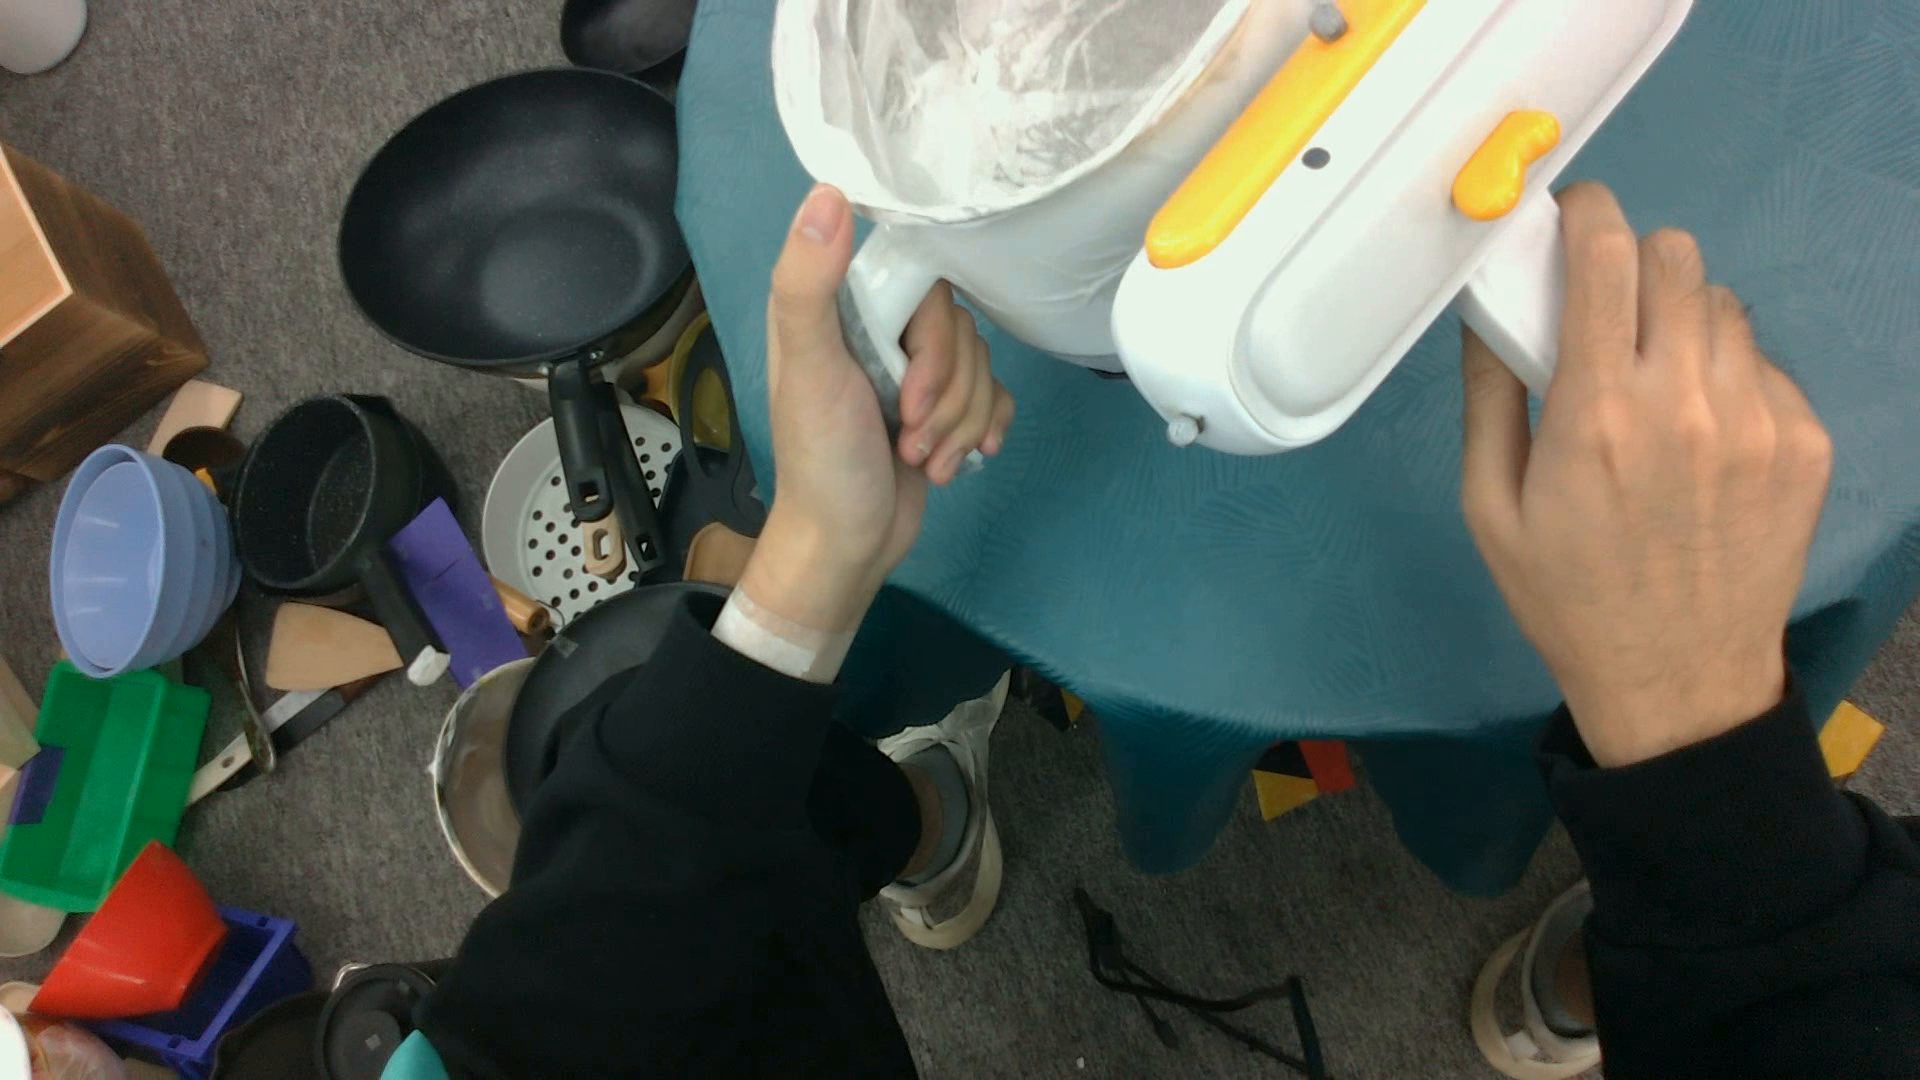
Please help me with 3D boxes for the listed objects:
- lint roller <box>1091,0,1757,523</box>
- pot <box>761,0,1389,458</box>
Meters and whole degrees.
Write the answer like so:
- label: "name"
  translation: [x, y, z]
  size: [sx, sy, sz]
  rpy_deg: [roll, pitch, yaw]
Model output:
- label: "lint roller"
  translation: [0.156, -0.072, 0.393]
  size: [0.192, 0.074, 0.193]
  rpy_deg: [38, 85, -27]
- label: "pot"
  translation: [0.028, -0.140, 0.457]
  size: [0.179, 0.136, 0.233]
  rpy_deg: [37, 94, 37]
